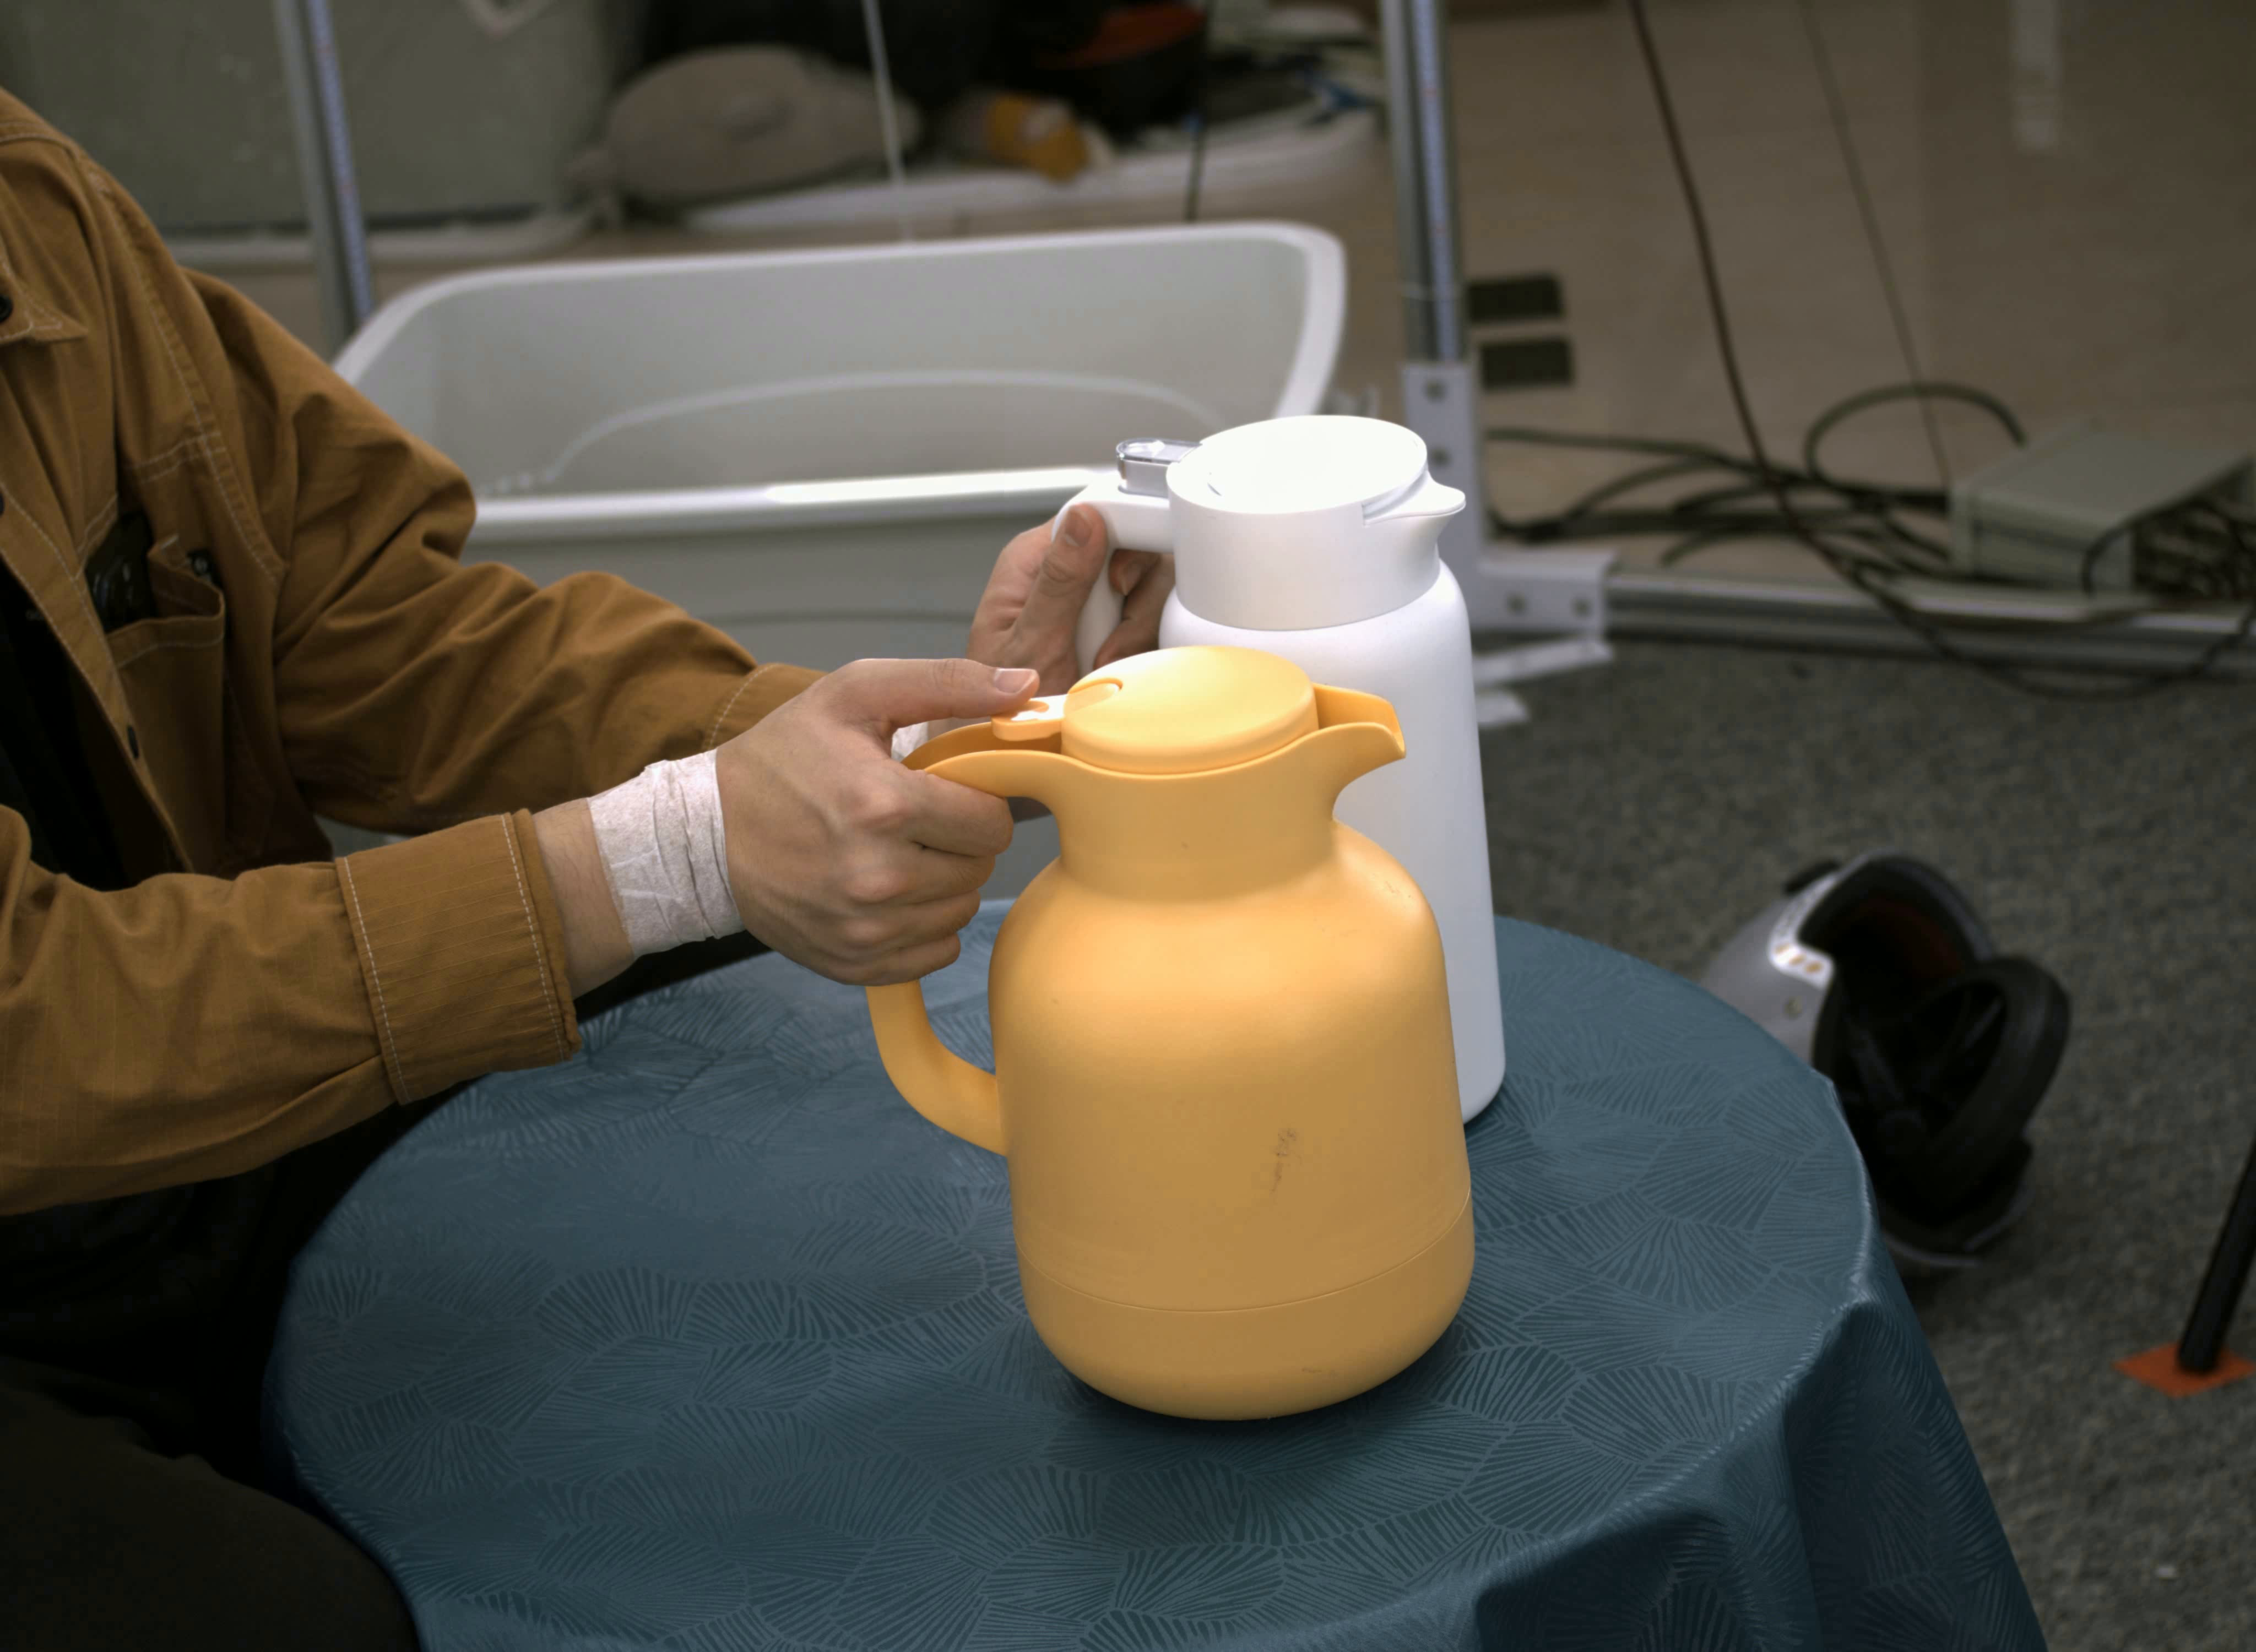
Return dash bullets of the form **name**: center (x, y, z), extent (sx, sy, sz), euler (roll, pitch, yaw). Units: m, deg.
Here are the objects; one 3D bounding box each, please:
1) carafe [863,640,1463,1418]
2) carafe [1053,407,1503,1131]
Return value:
- **carafe**: center (0.012, 0.066, 1.984), extent (0.202, 0.264, 0.161), euler (-1, 23, 7)
- **carafe**: center (0.059, -0.017, 2.149), extent (0.172, 0.273, 0.122), euler (8, 31, 28)
